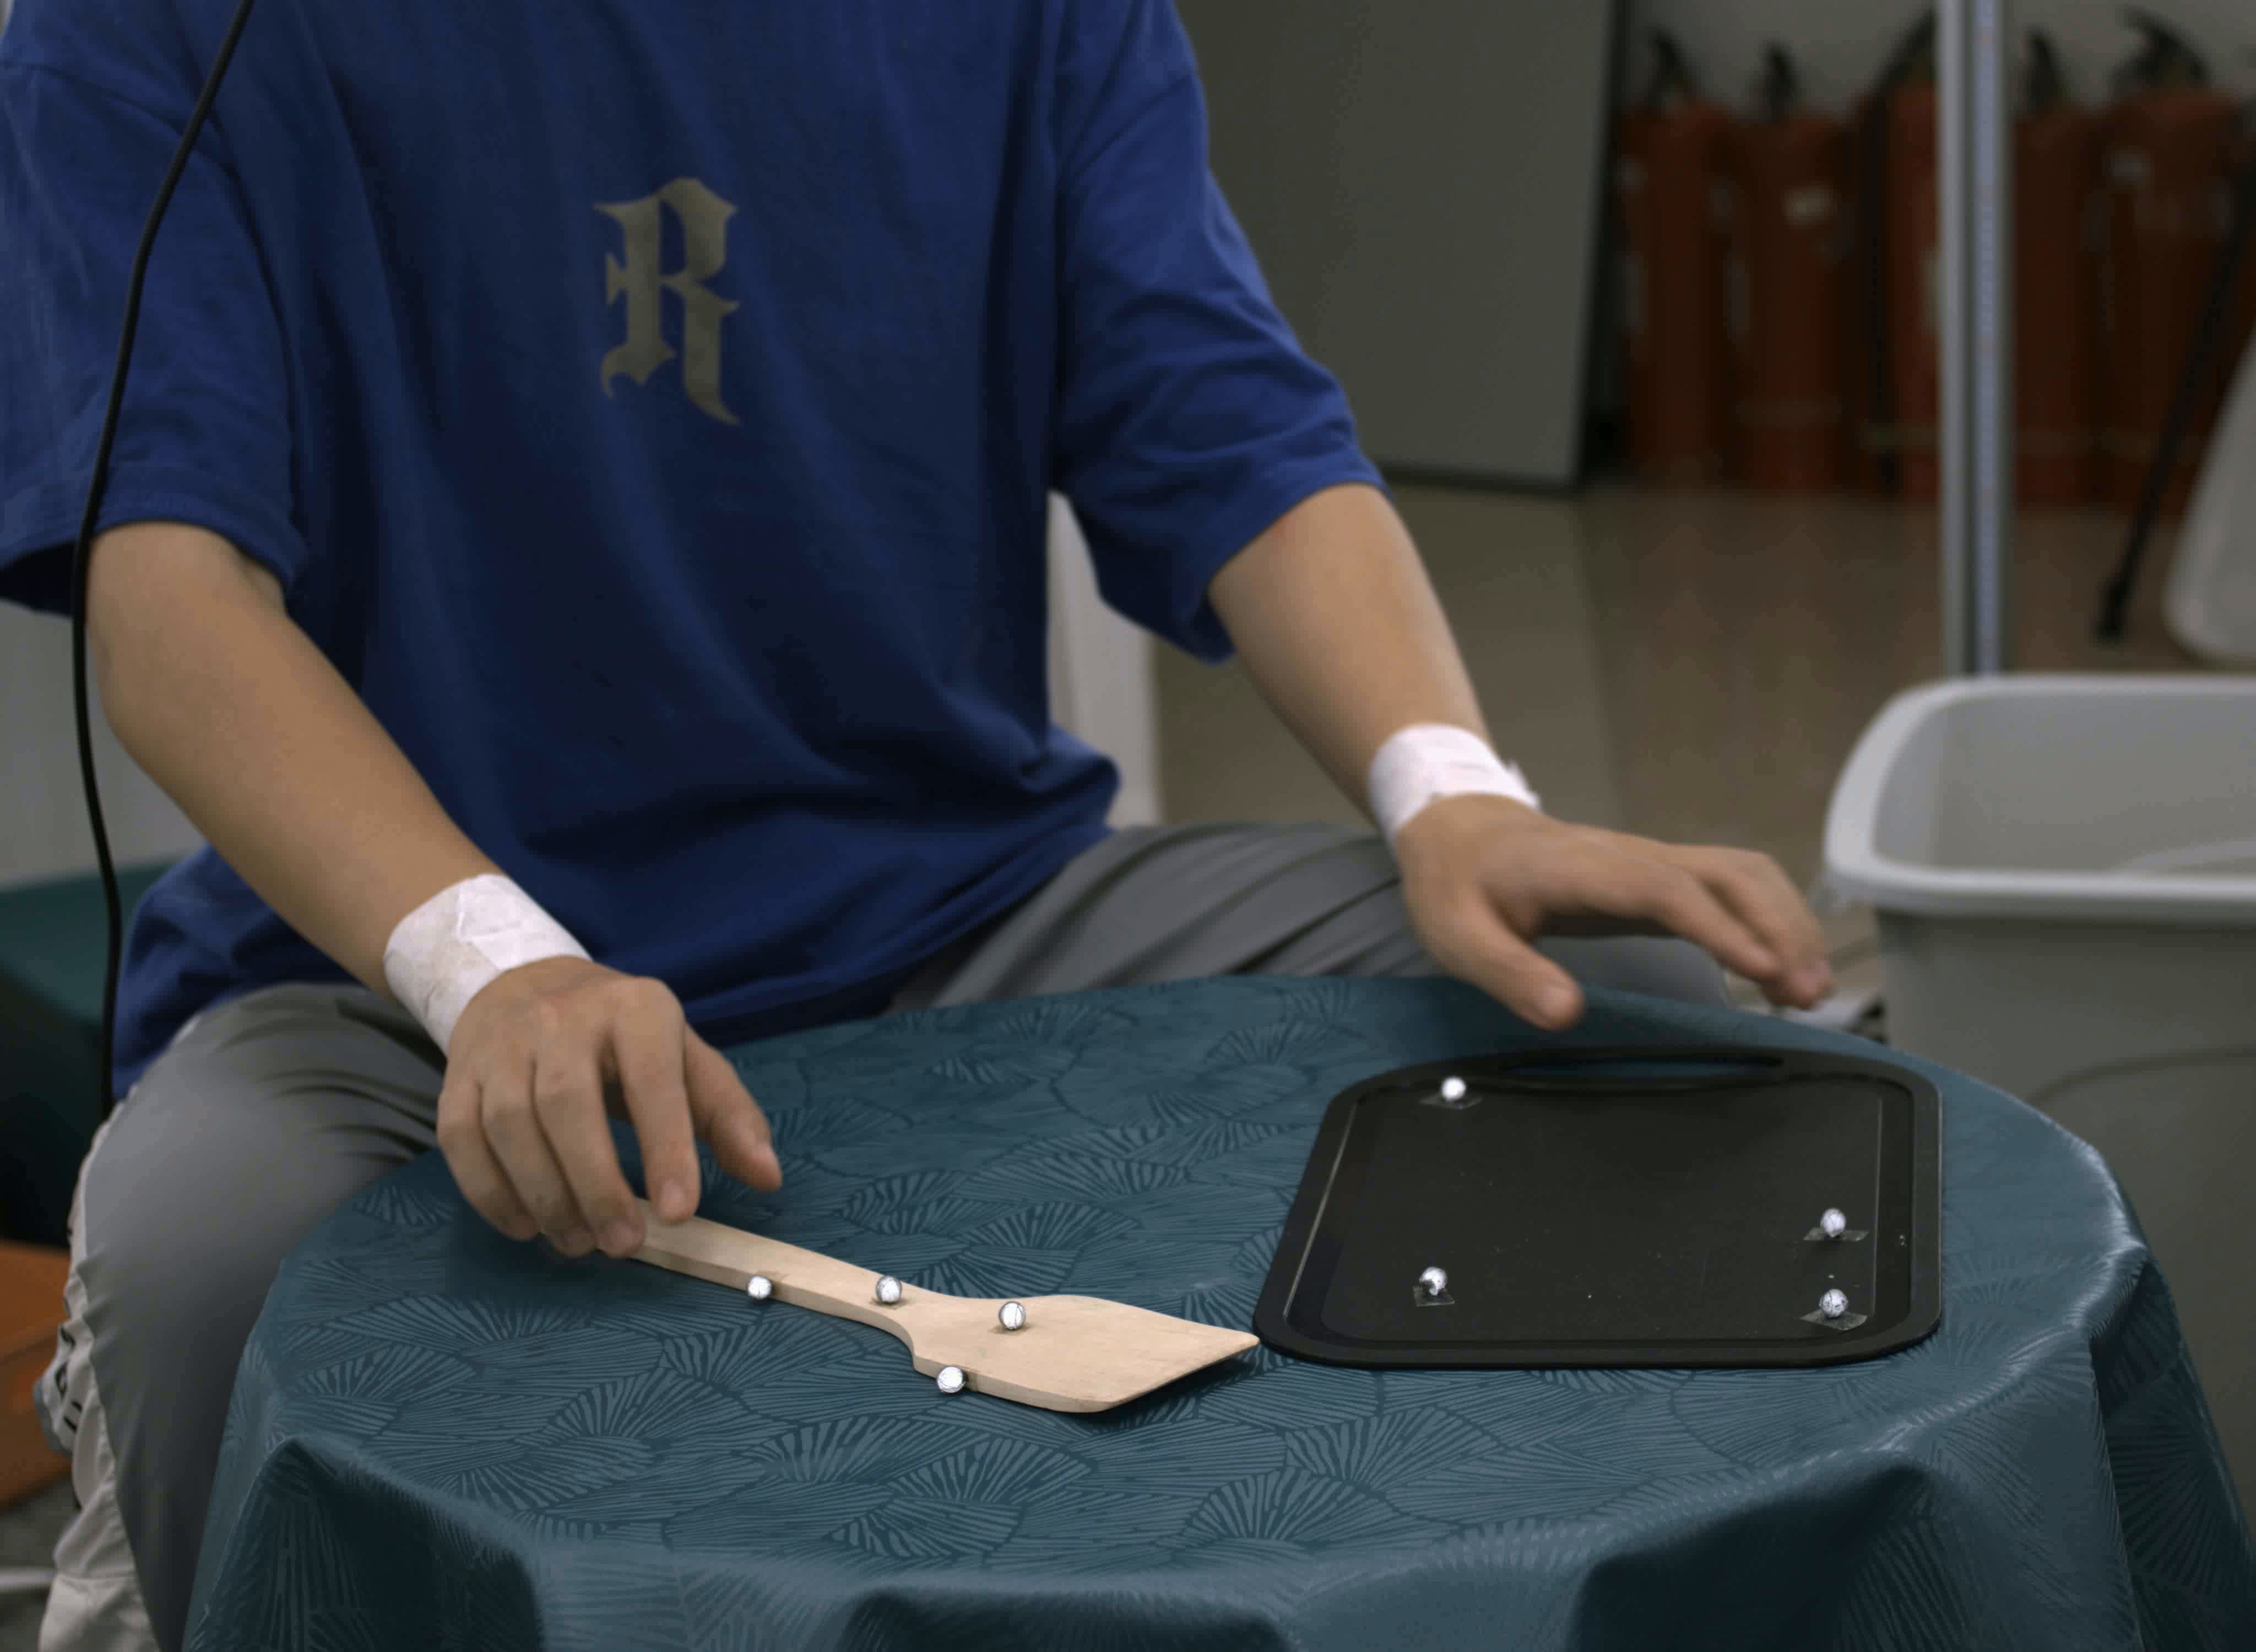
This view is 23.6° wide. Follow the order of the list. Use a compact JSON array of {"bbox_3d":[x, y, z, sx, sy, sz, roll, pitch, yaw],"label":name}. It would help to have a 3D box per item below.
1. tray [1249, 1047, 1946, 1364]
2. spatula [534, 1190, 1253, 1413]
[{"bbox_3d":[0.157,0.116,1.730,0.209,0.010,0.324,-1,14,10],"label":"tray"},{"bbox_3d":[-0.087,0.145,1.681,0.071,0.011,0.296,-18,20,-42],"label":"spatula"}]
